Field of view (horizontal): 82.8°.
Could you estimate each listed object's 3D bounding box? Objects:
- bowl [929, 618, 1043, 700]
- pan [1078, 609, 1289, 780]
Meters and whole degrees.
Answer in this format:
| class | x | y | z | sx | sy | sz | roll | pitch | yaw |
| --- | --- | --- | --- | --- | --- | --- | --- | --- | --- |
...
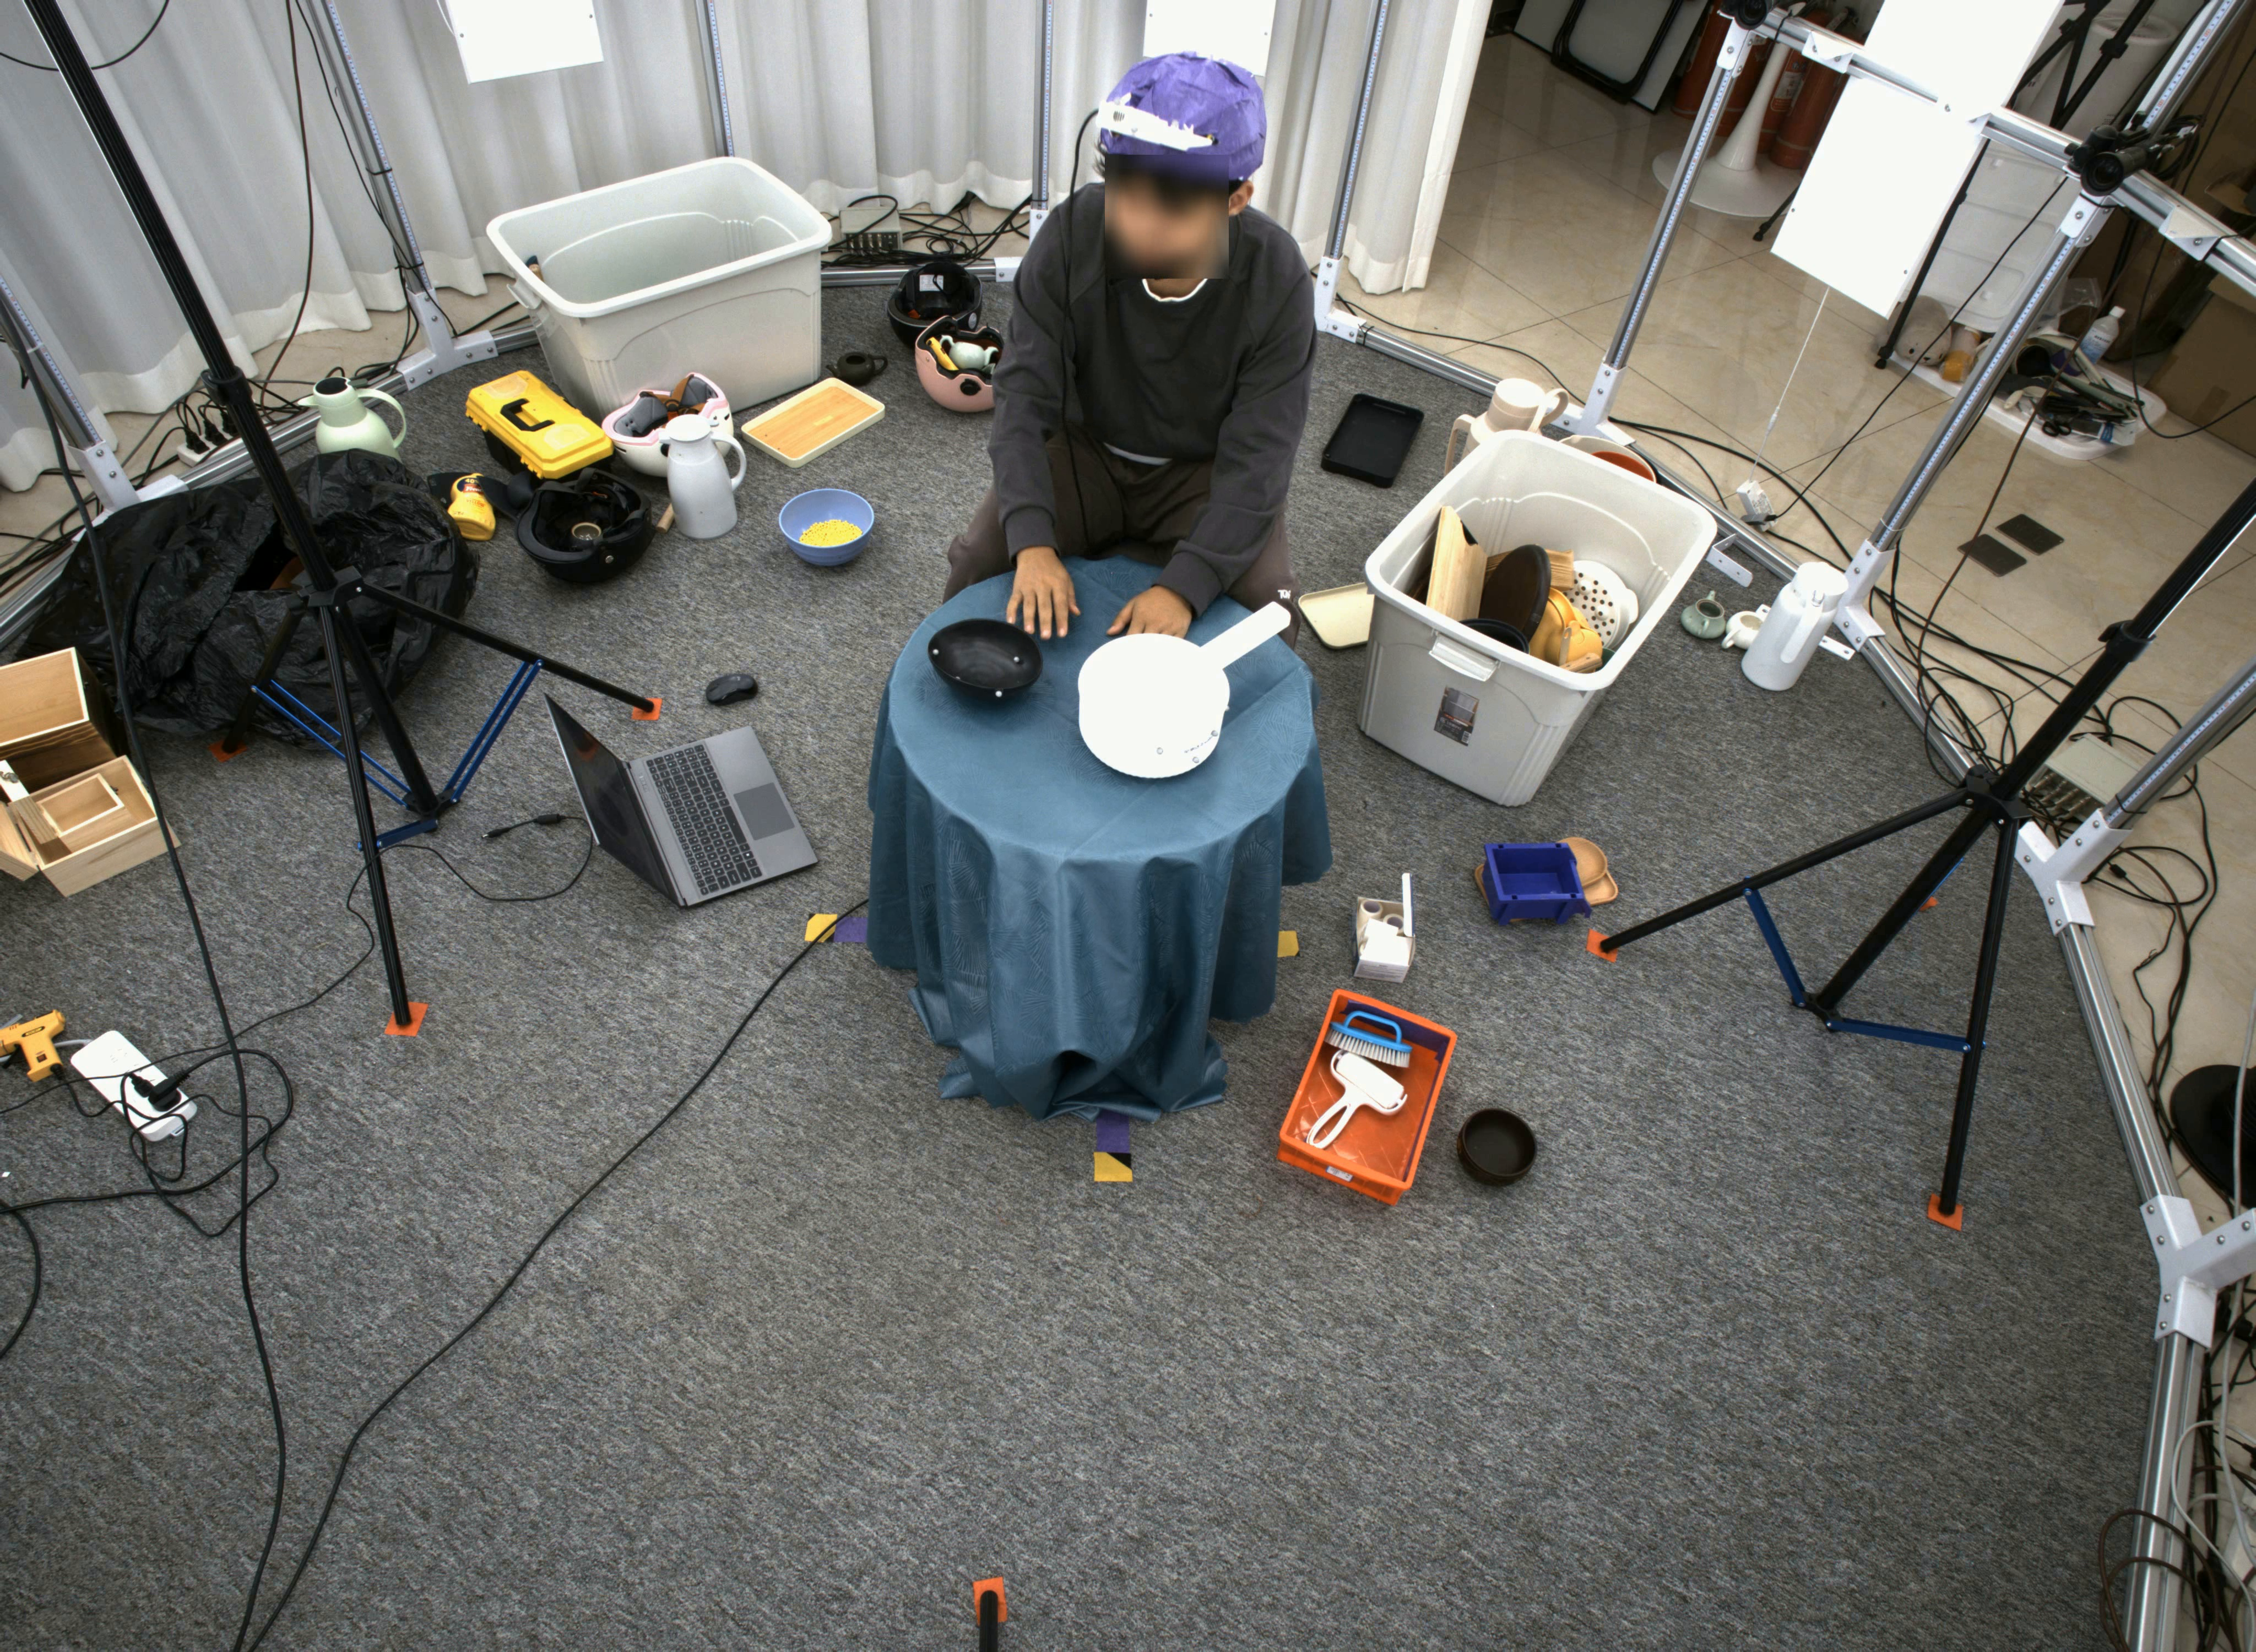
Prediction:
| class | x | y | z | sx | sy | sz | roll | pitch | yaw |
| --- | --- | --- | --- | --- | --- | --- | --- | --- | --- |
| bowl | -0.199 | -0.223 | 1.801 | 0.171 | 0.065 | 0.139 | 23 | 51 | 17 |
| pan | 0.087 | -0.190 | 1.784 | 0.358 | 0.099 | 0.204 | -33 | 55 | -31 |
